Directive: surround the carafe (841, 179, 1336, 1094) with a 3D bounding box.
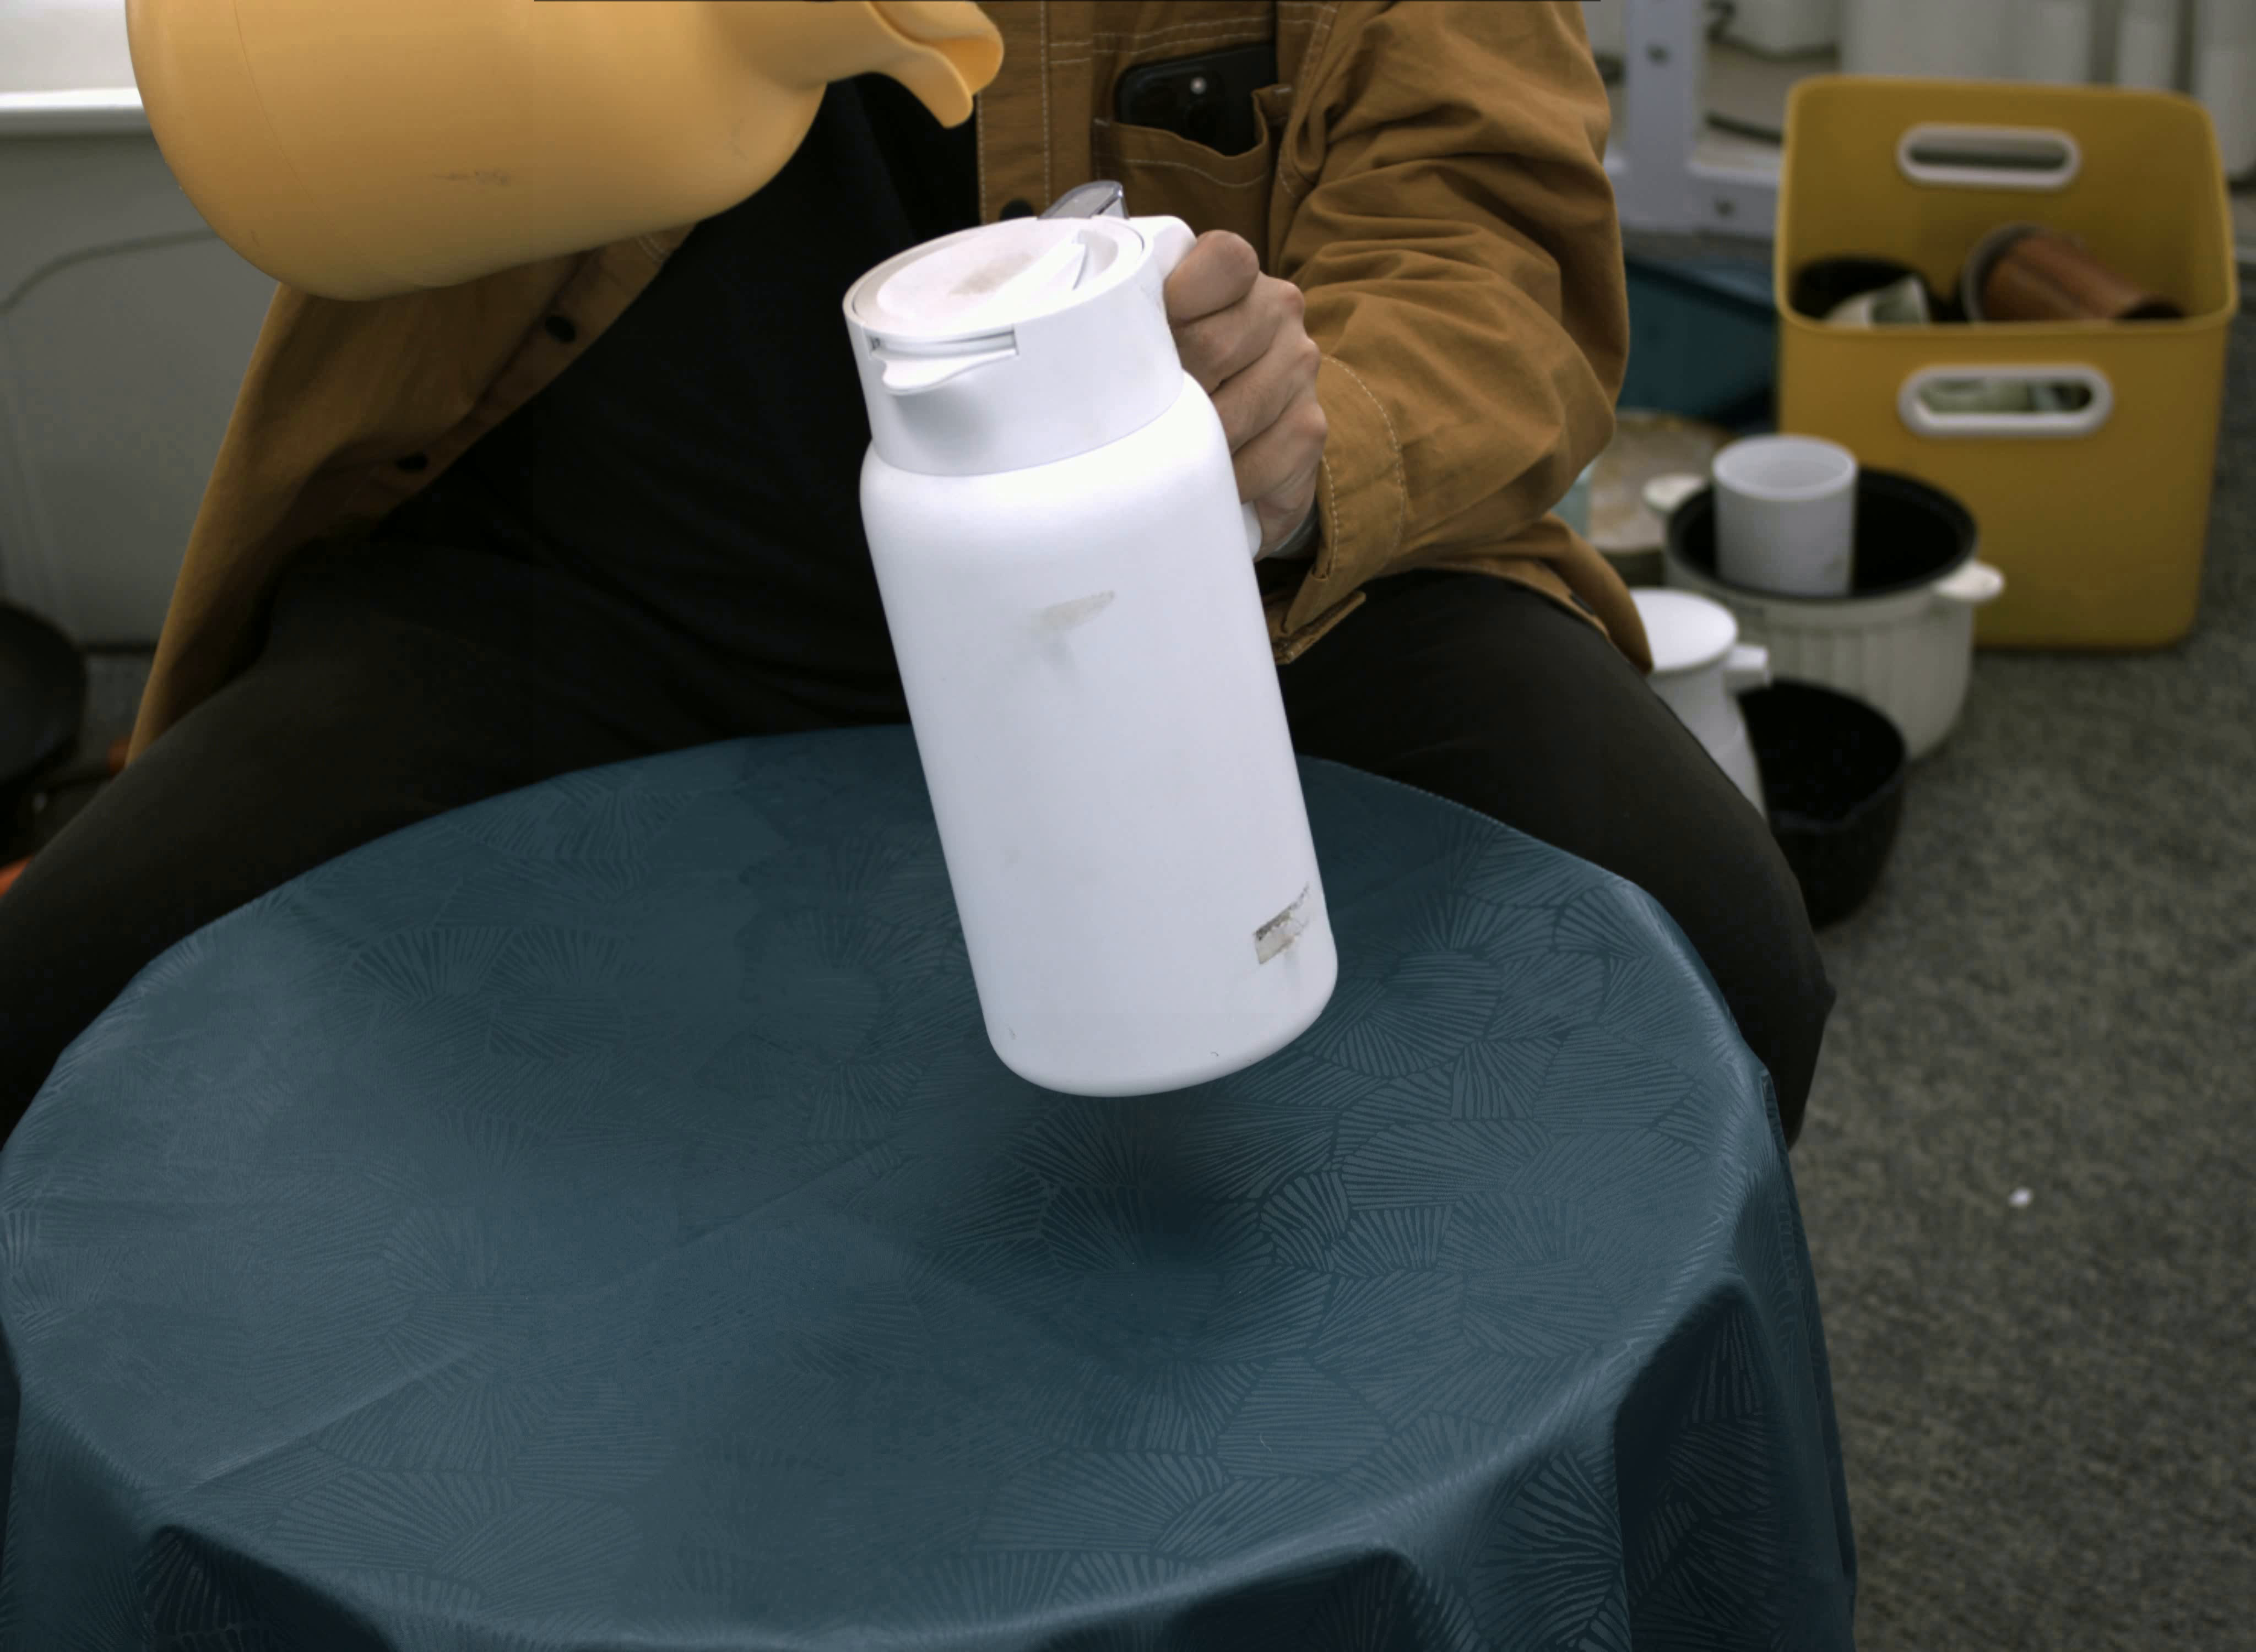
[{"bbox_3d":[-0.008,-0.064,1.798,0.122,0.267,0.176,-2,25,29],"label":"carafe"}]

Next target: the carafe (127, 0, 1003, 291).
[{"bbox_3d":[-0.171,-0.279,1.714,0.257,0.201,0.166,-11,27,22],"label":"carafe"}]
